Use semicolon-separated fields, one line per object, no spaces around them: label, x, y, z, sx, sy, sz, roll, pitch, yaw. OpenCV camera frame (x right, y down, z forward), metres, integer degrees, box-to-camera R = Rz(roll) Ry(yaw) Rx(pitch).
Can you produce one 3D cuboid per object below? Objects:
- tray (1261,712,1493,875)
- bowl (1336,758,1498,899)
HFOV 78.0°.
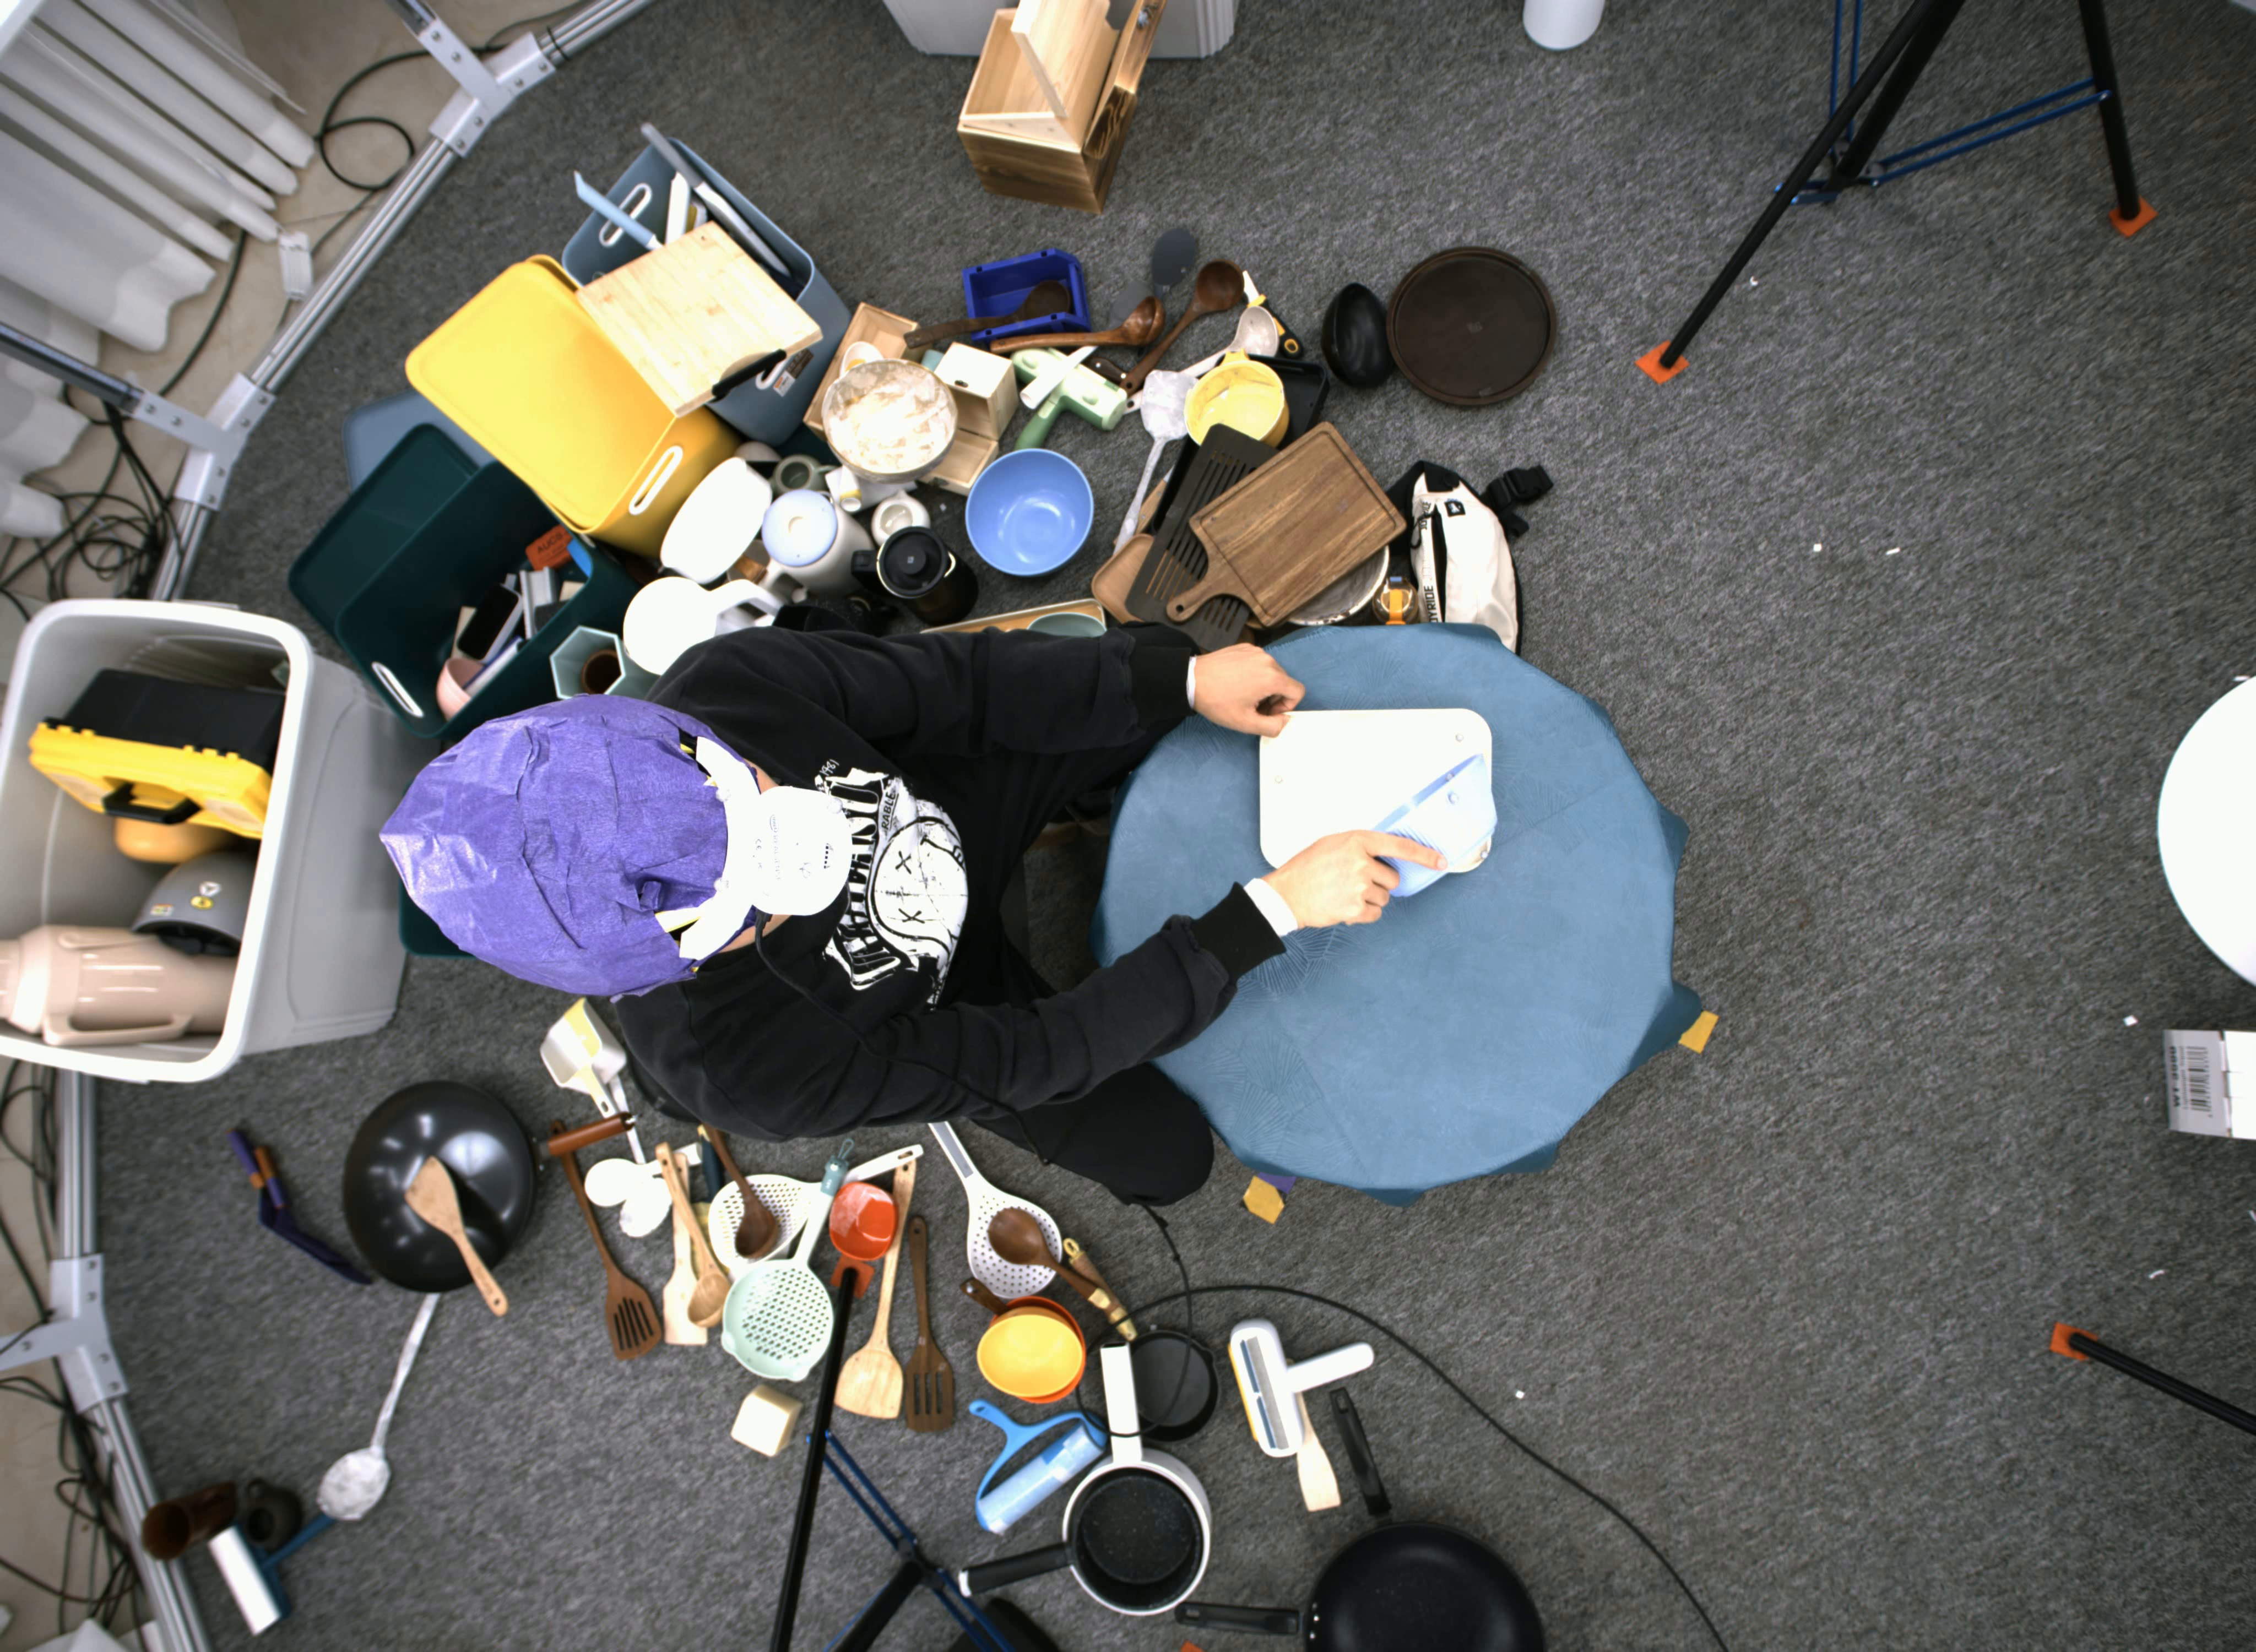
tray;0.261;-0.035;1.449;0.240;0.017;0.172;0;96;8
bowl;0.289;0.010;1.327;0.177;0.175;0.070;-37;87;4
